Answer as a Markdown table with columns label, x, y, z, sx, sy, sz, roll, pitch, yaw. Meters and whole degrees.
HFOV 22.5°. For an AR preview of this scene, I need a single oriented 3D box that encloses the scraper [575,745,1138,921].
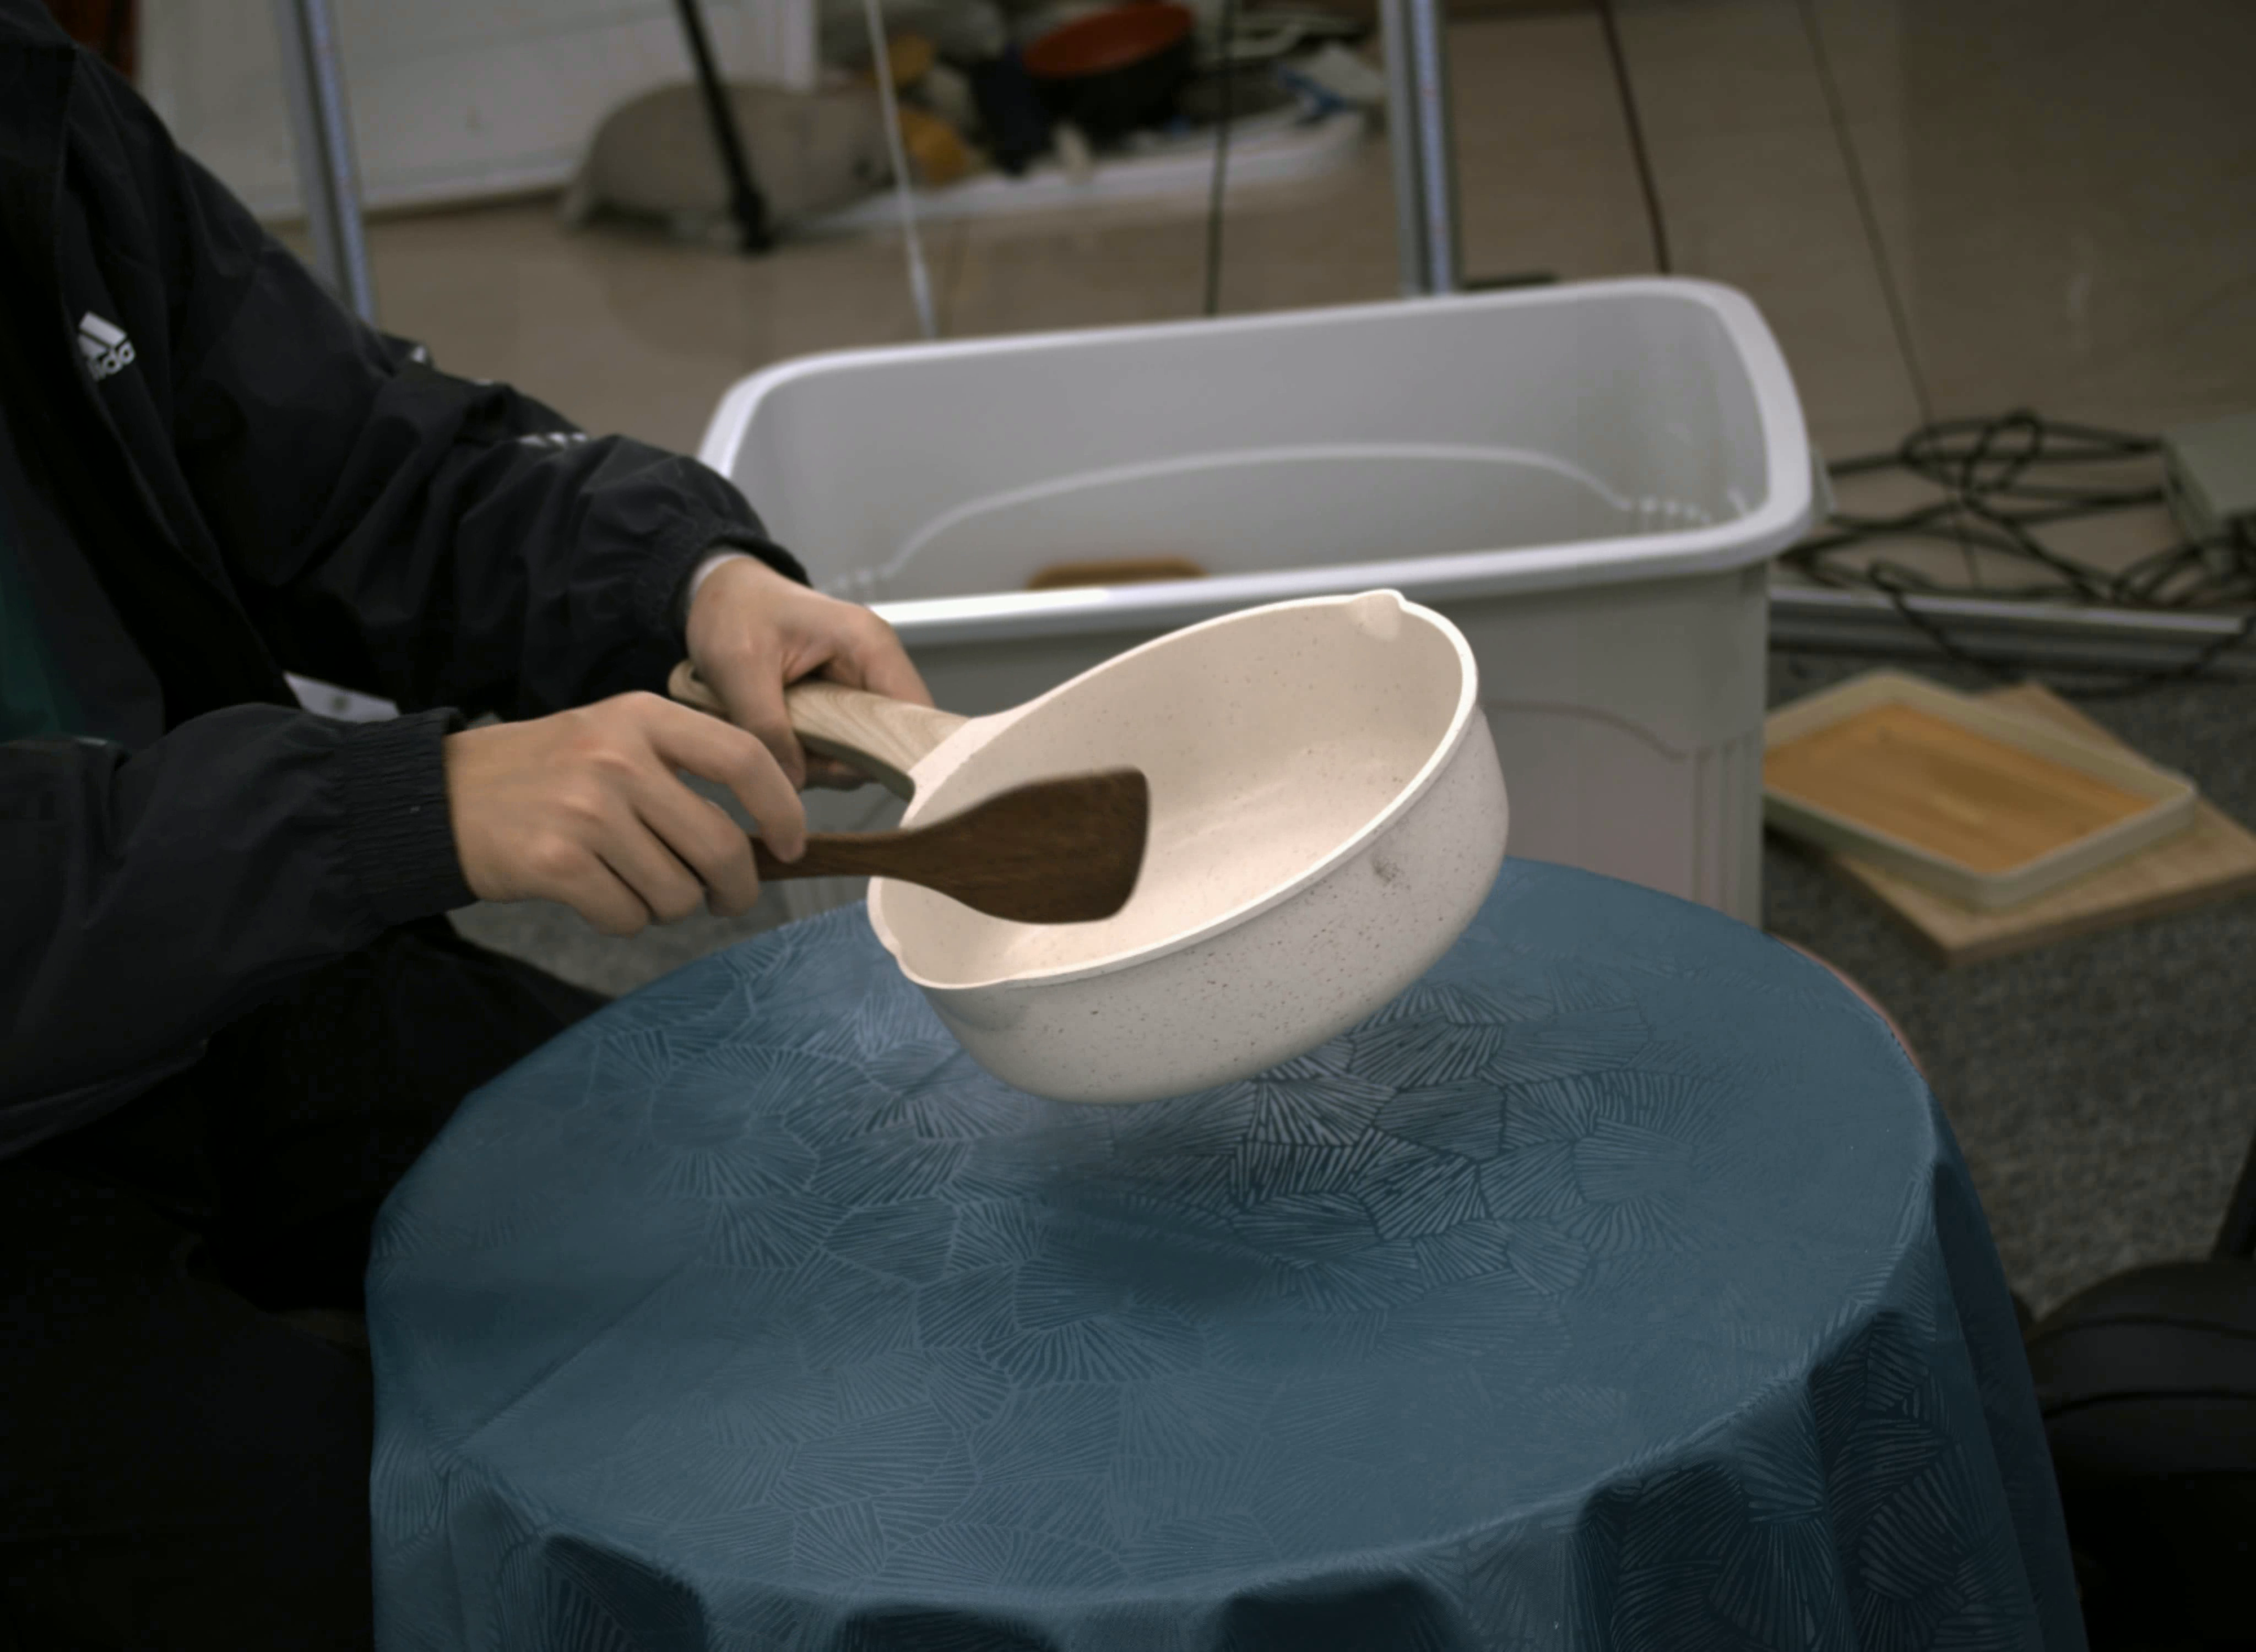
| label | x | y | z | sx | sy | sz | roll | pitch | yaw |
| --- | --- | --- | --- | --- | --- | --- | --- | --- | --- |
| scraper | -0.100 | 0.008 | 2.099 | 0.211 | 0.077 | 0.010 | -3 | 36 | -10 |

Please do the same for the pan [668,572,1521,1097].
| label | x | y | z | sx | sy | sz | roll | pitch | yaw |
| --- | --- | --- | --- | --- | --- | --- | --- | --- | --- |
| pan | -0.026 | -0.004 | 2.229 | 0.260 | 0.103 | 0.433 | -43 | 30 | -28 |
